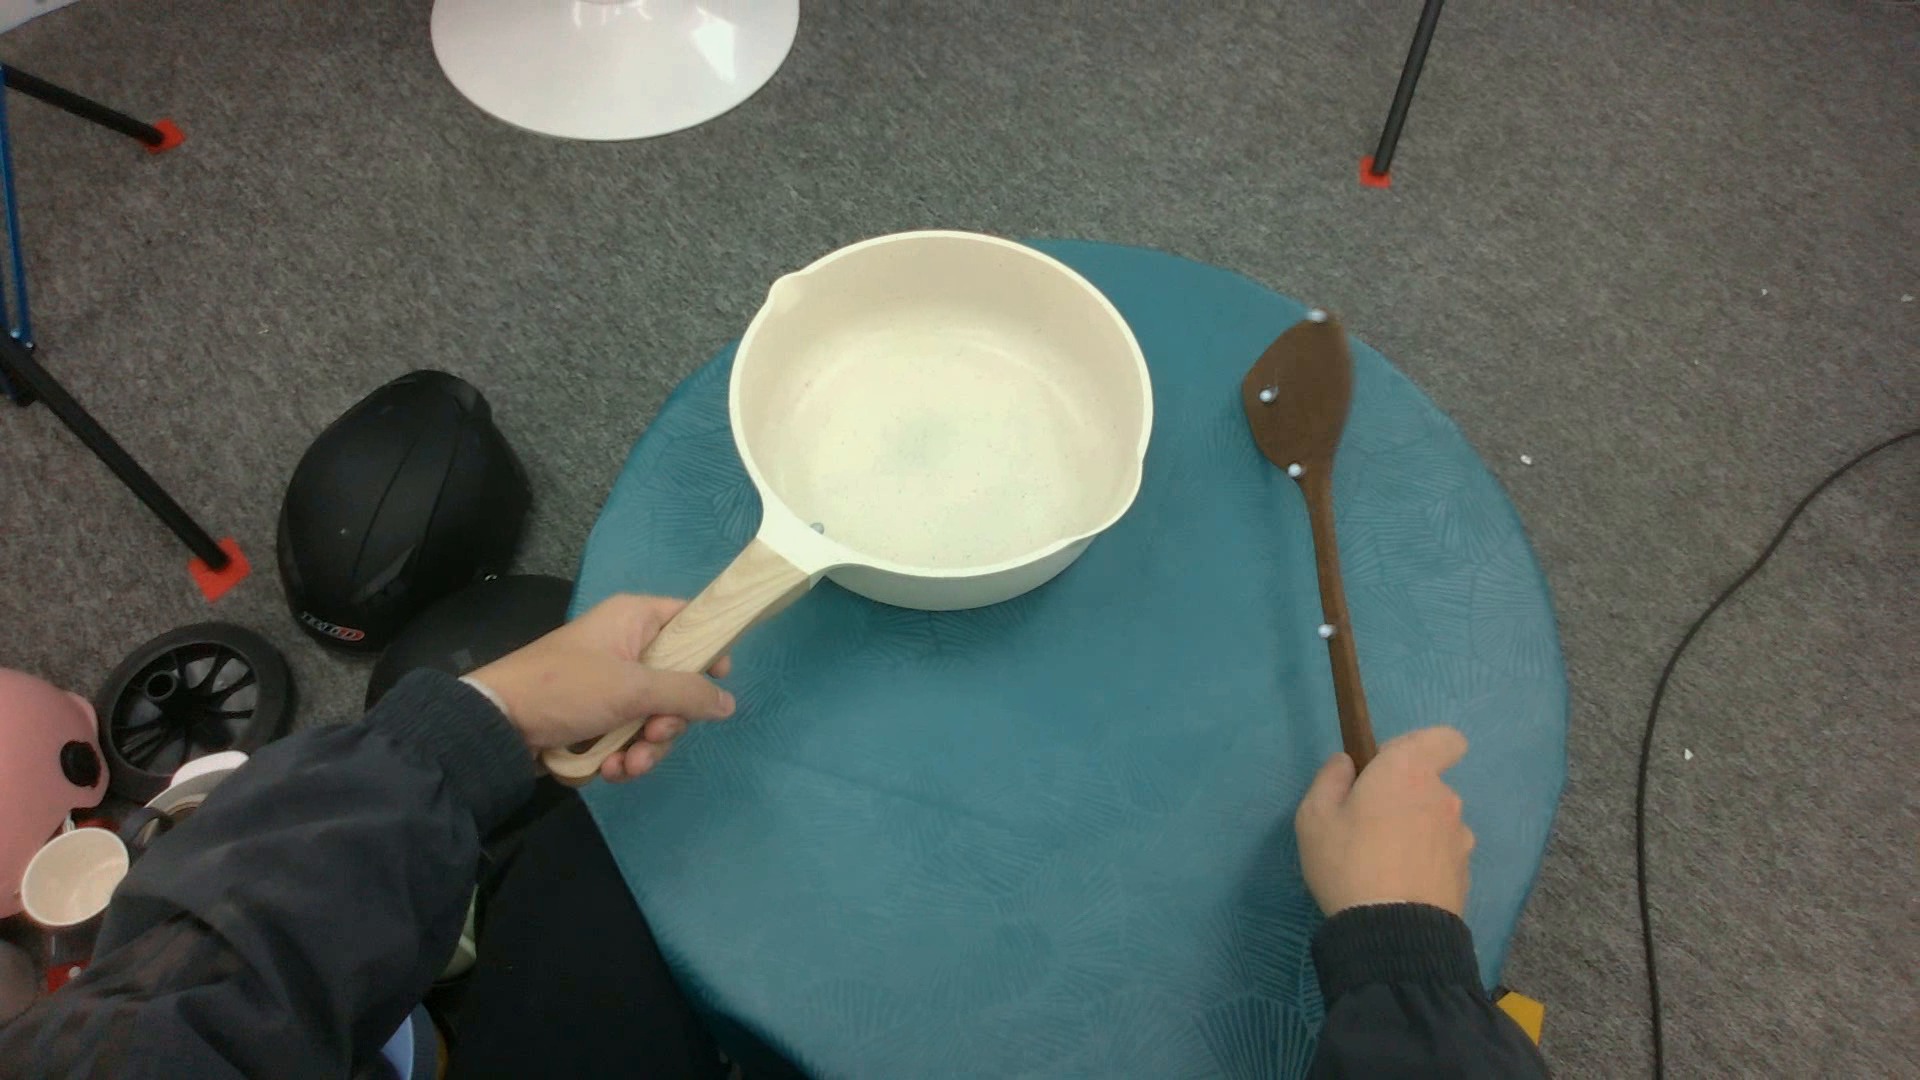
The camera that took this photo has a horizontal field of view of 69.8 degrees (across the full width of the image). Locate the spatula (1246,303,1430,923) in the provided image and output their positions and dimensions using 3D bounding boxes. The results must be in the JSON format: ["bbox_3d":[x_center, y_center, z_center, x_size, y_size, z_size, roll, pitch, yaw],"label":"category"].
[{"bbox_3d":[0.222,0.031,0.810,0.016,0.095,0.387,3,60,-13],"label":"spatula"}]

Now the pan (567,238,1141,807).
[{"bbox_3d":[-0.069,-0.006,0.815,0.263,0.101,0.436,32,63,14],"label":"pan"}]
